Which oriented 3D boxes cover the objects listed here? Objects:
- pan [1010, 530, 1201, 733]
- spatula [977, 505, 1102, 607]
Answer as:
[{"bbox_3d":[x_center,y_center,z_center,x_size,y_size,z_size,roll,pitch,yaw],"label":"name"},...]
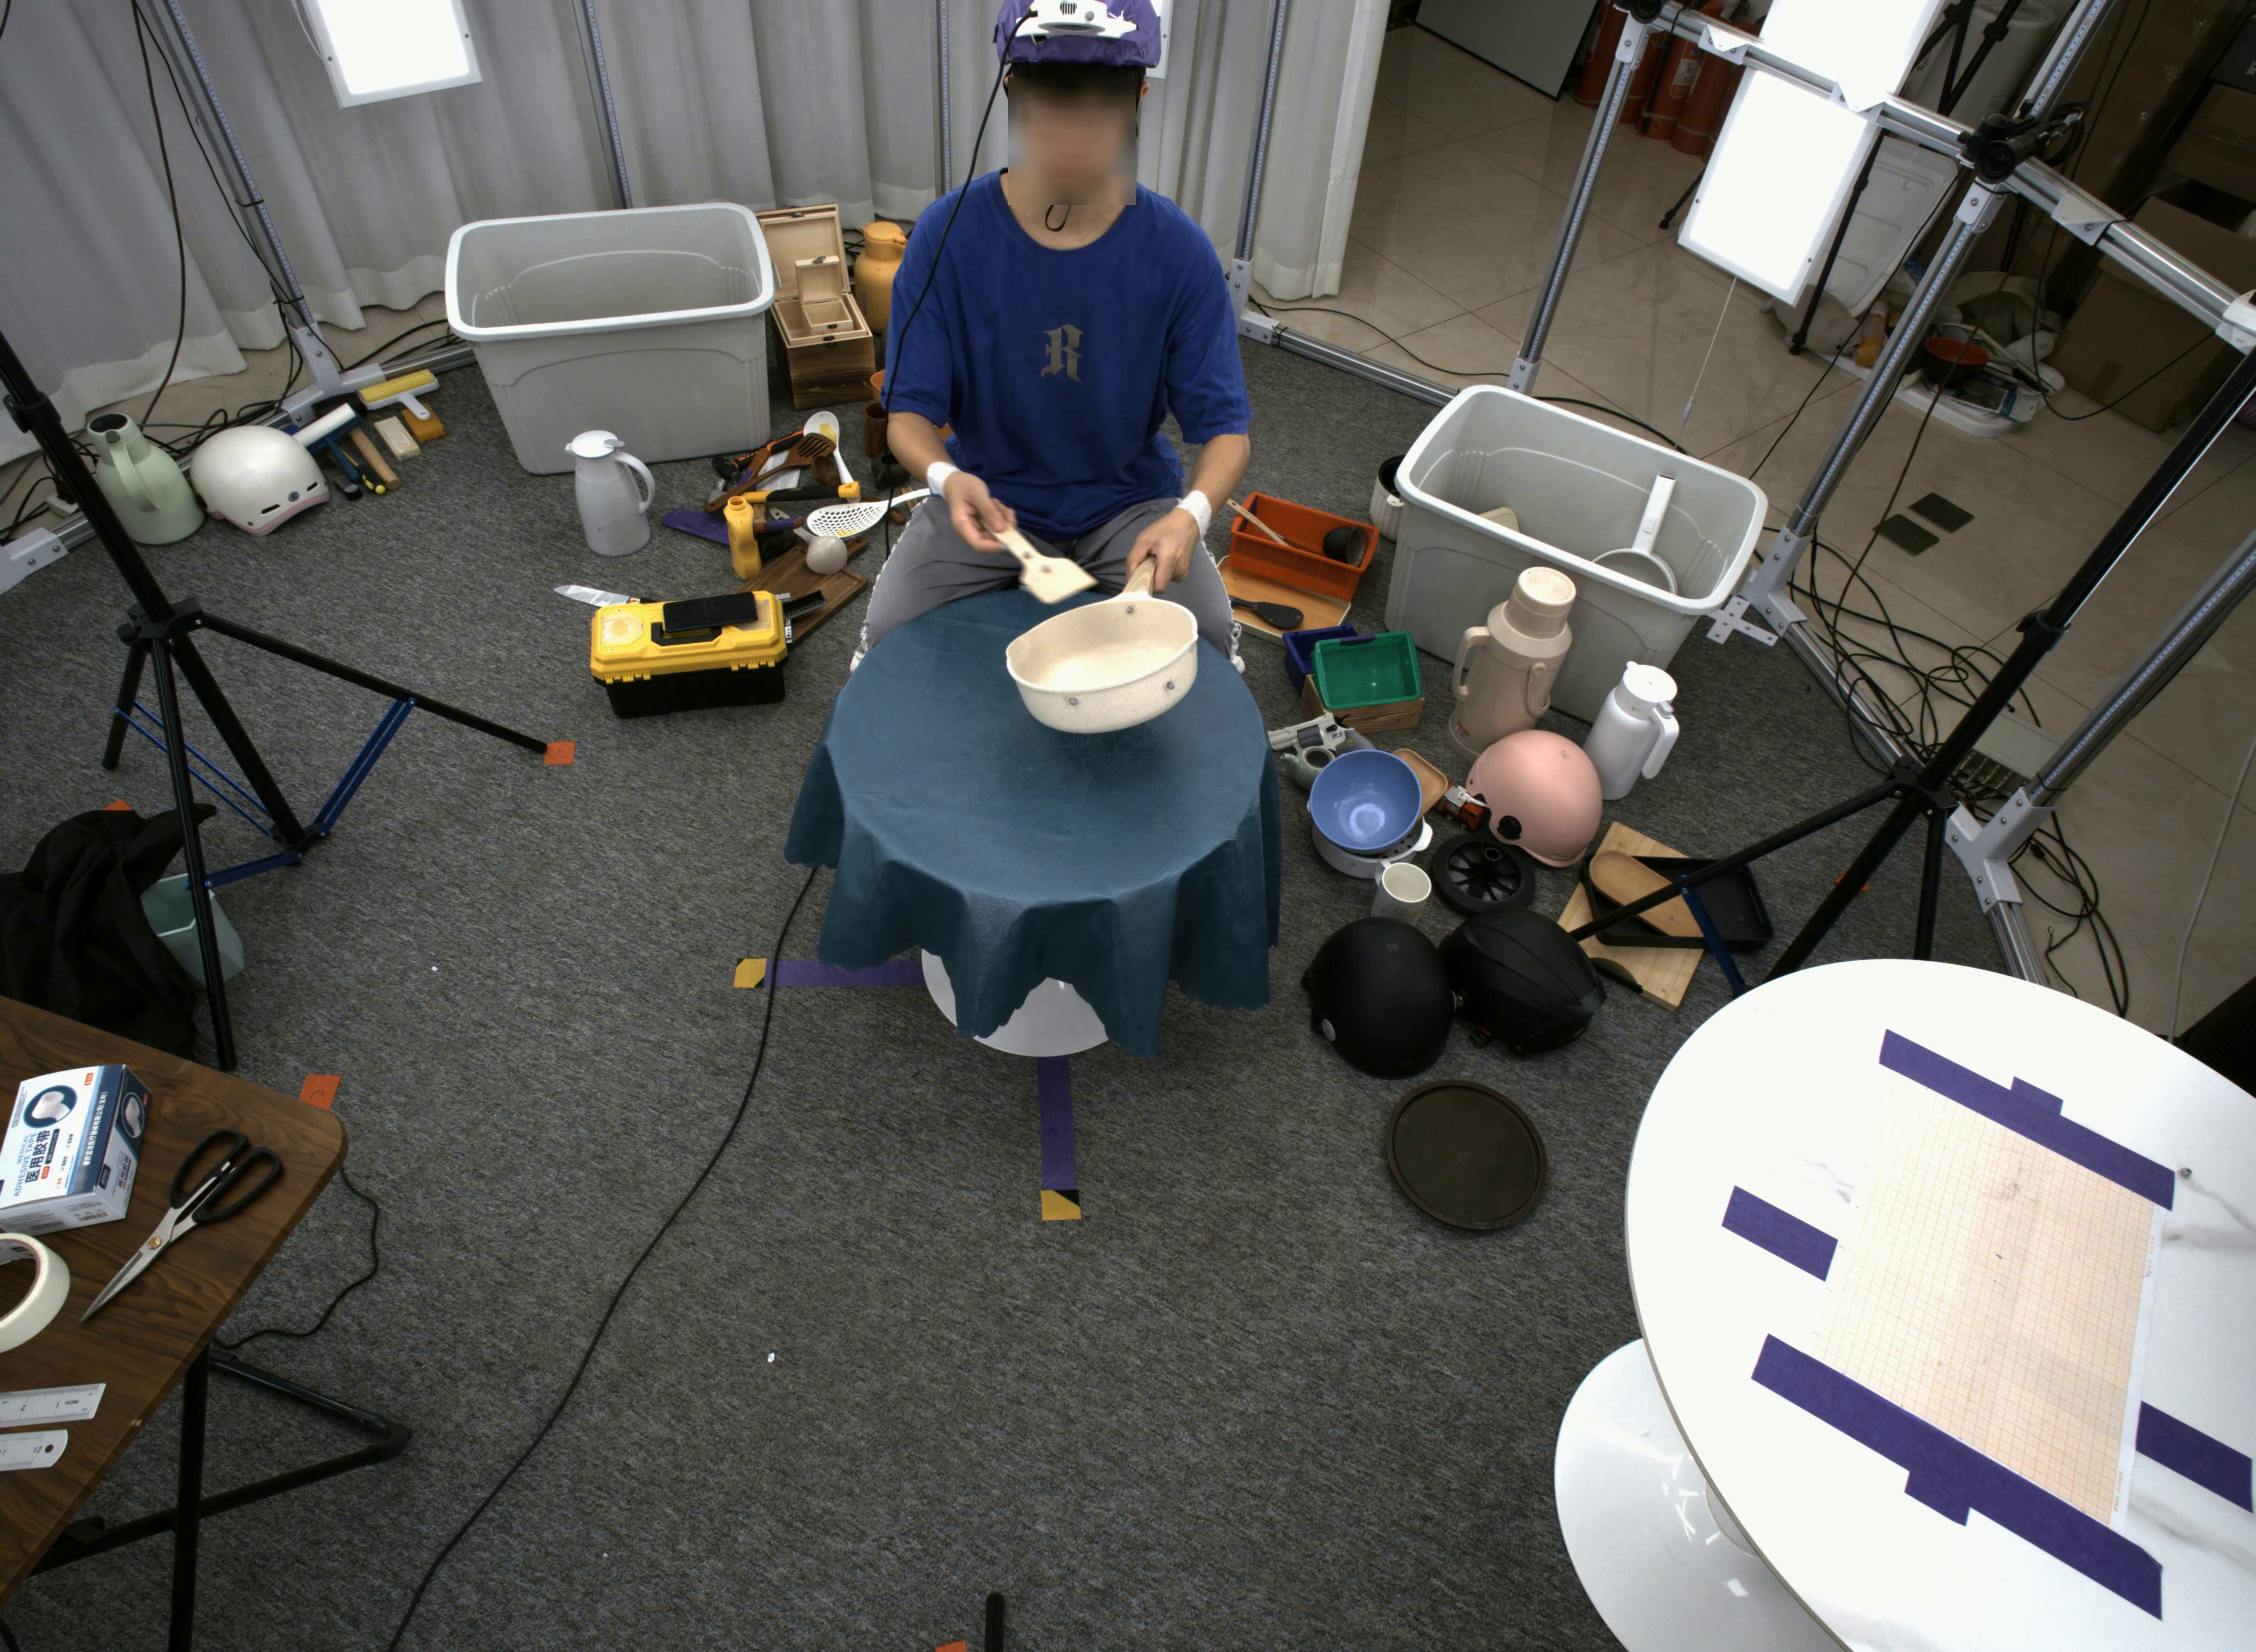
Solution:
[{"bbox_3d":[0.002,-0.267,1.749,0.264,0.100,0.443,-1,35,21],"label":"pan"},{"bbox_3d":[-0.132,-0.365,1.712,0.072,0.010,0.299,-28,44,-15],"label":"spatula"}]
